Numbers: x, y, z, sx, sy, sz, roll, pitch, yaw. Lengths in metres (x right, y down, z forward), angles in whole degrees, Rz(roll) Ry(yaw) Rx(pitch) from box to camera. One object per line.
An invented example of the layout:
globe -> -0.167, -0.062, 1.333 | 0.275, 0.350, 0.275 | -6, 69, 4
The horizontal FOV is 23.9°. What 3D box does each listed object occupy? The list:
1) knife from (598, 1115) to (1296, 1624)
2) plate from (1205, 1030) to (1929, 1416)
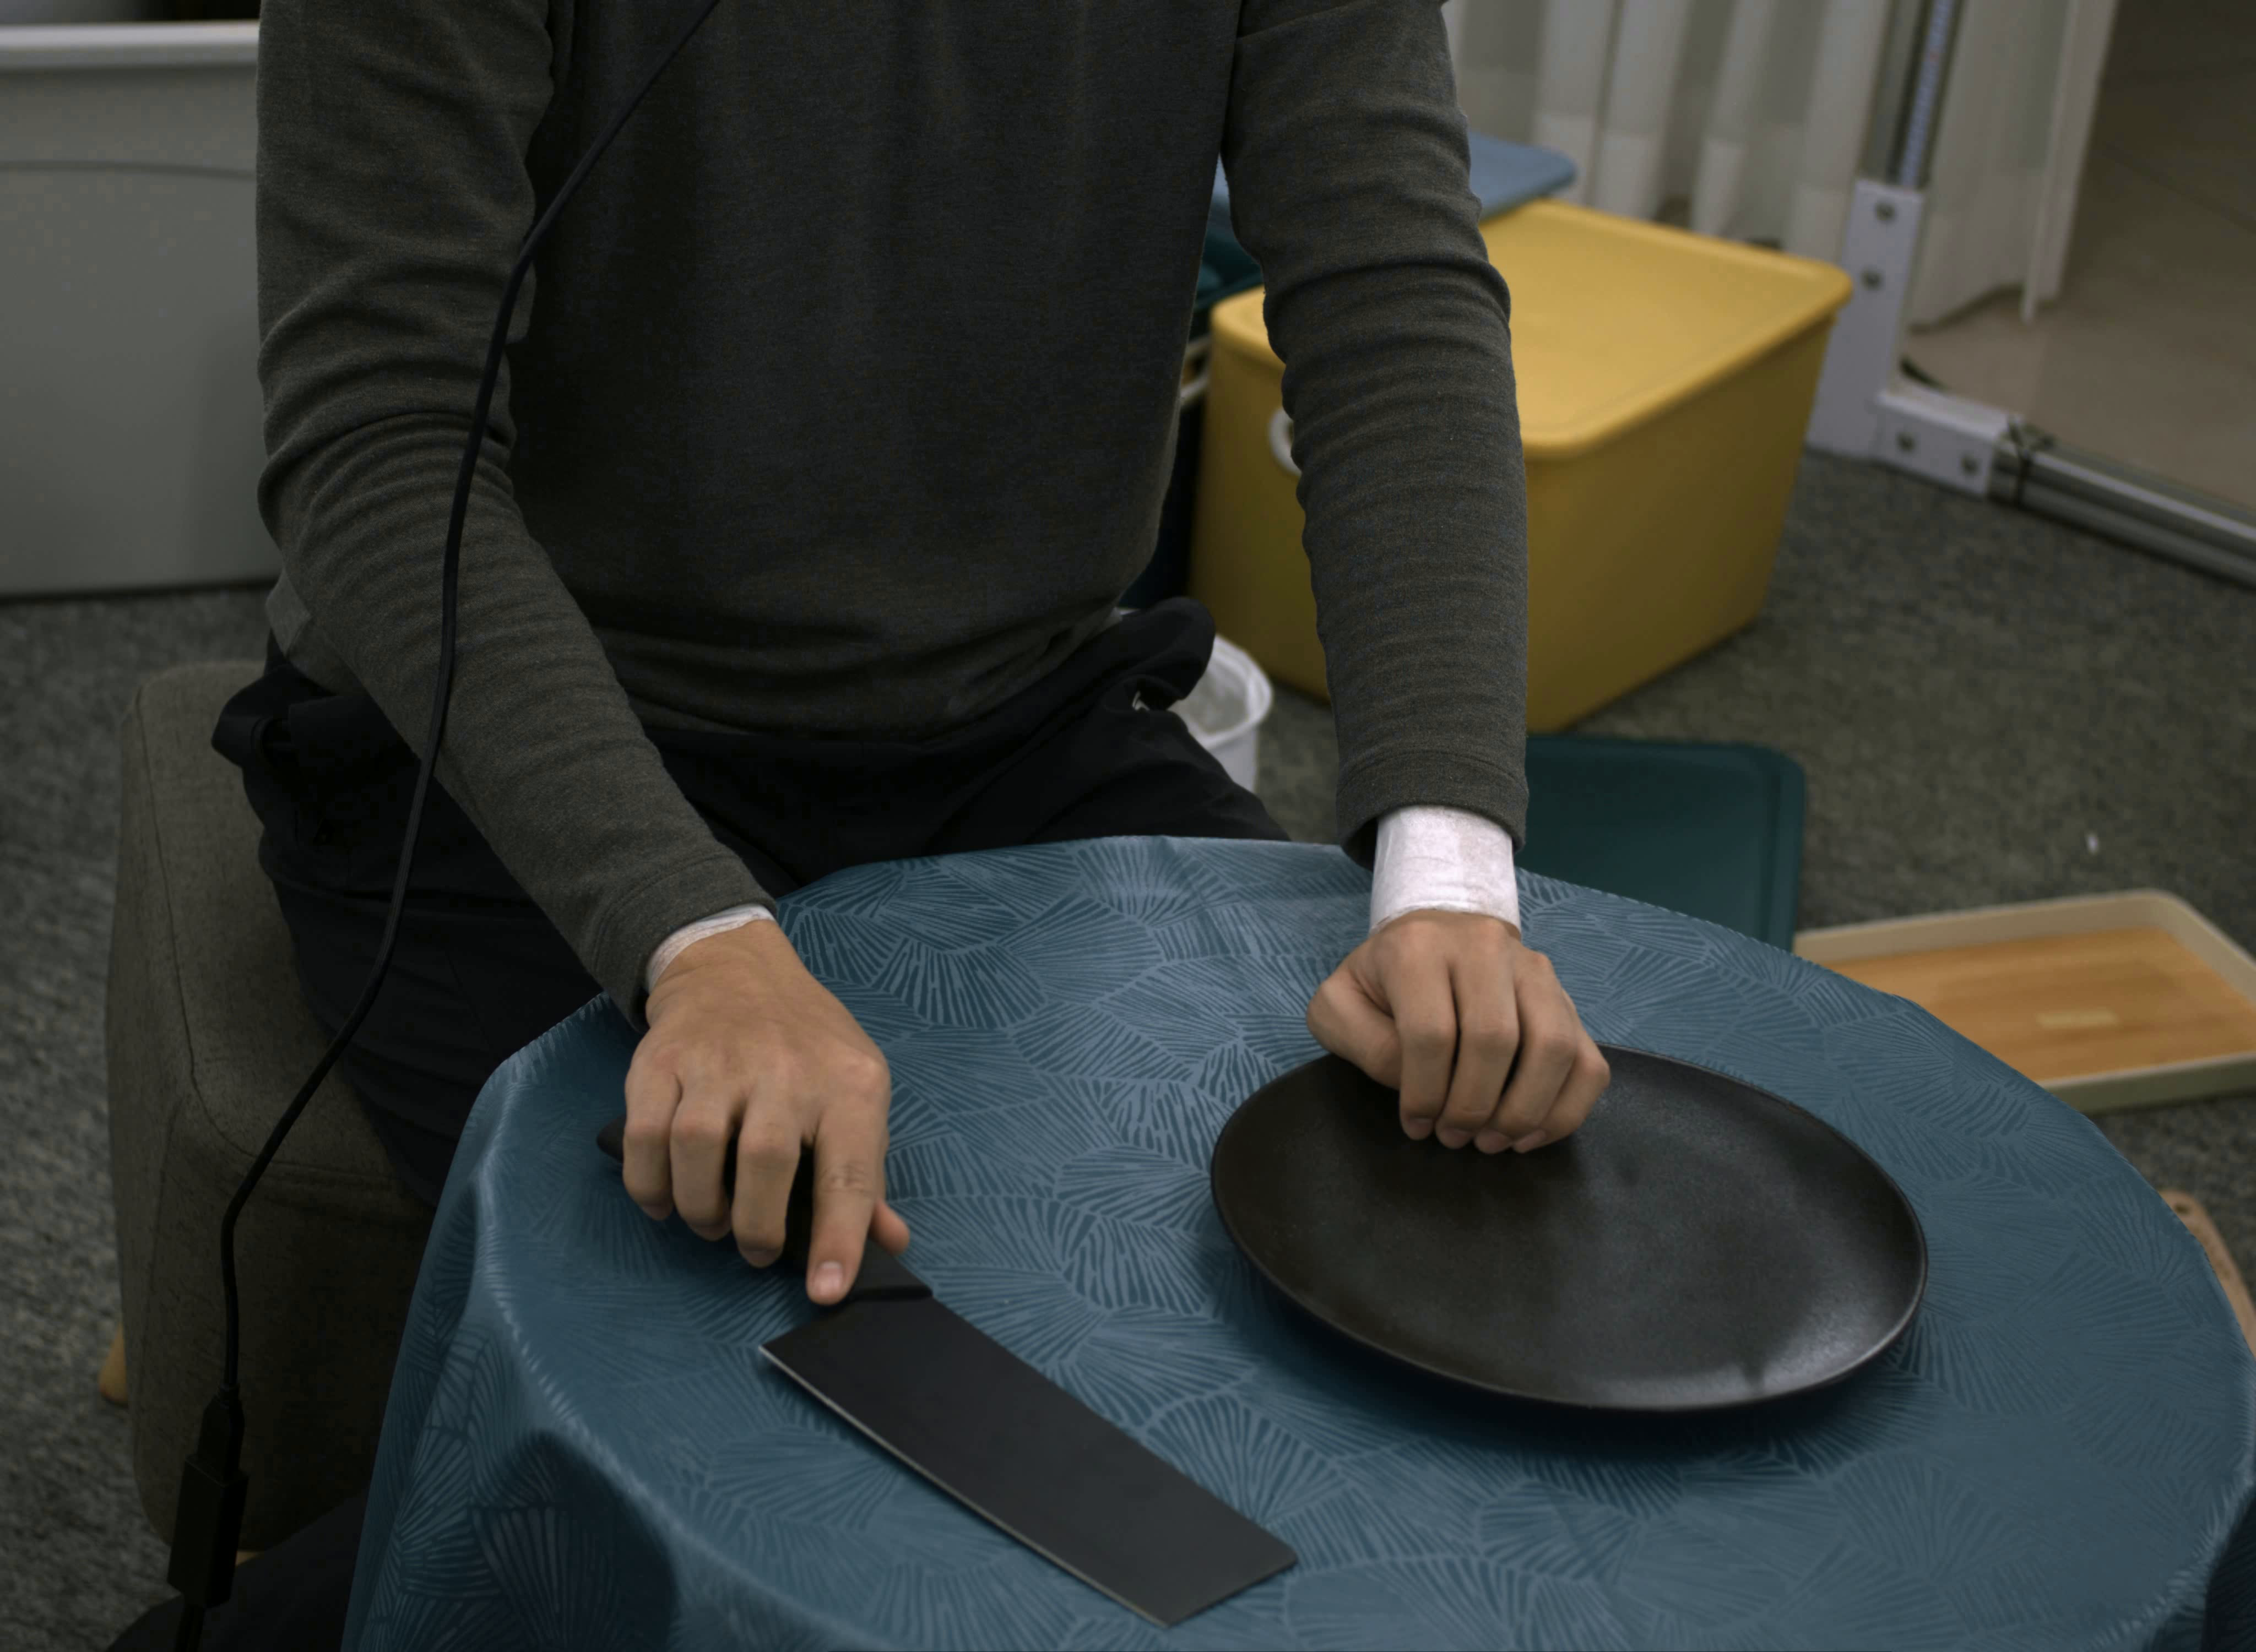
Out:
knife -> -0.071, 0.168, 1.688 | 0.080, 0.021, 0.305 | -19, 38, -36
plate -> 0.146, 0.137, 1.787 | 0.243, 0.023, 0.246 | 5, 27, -3
